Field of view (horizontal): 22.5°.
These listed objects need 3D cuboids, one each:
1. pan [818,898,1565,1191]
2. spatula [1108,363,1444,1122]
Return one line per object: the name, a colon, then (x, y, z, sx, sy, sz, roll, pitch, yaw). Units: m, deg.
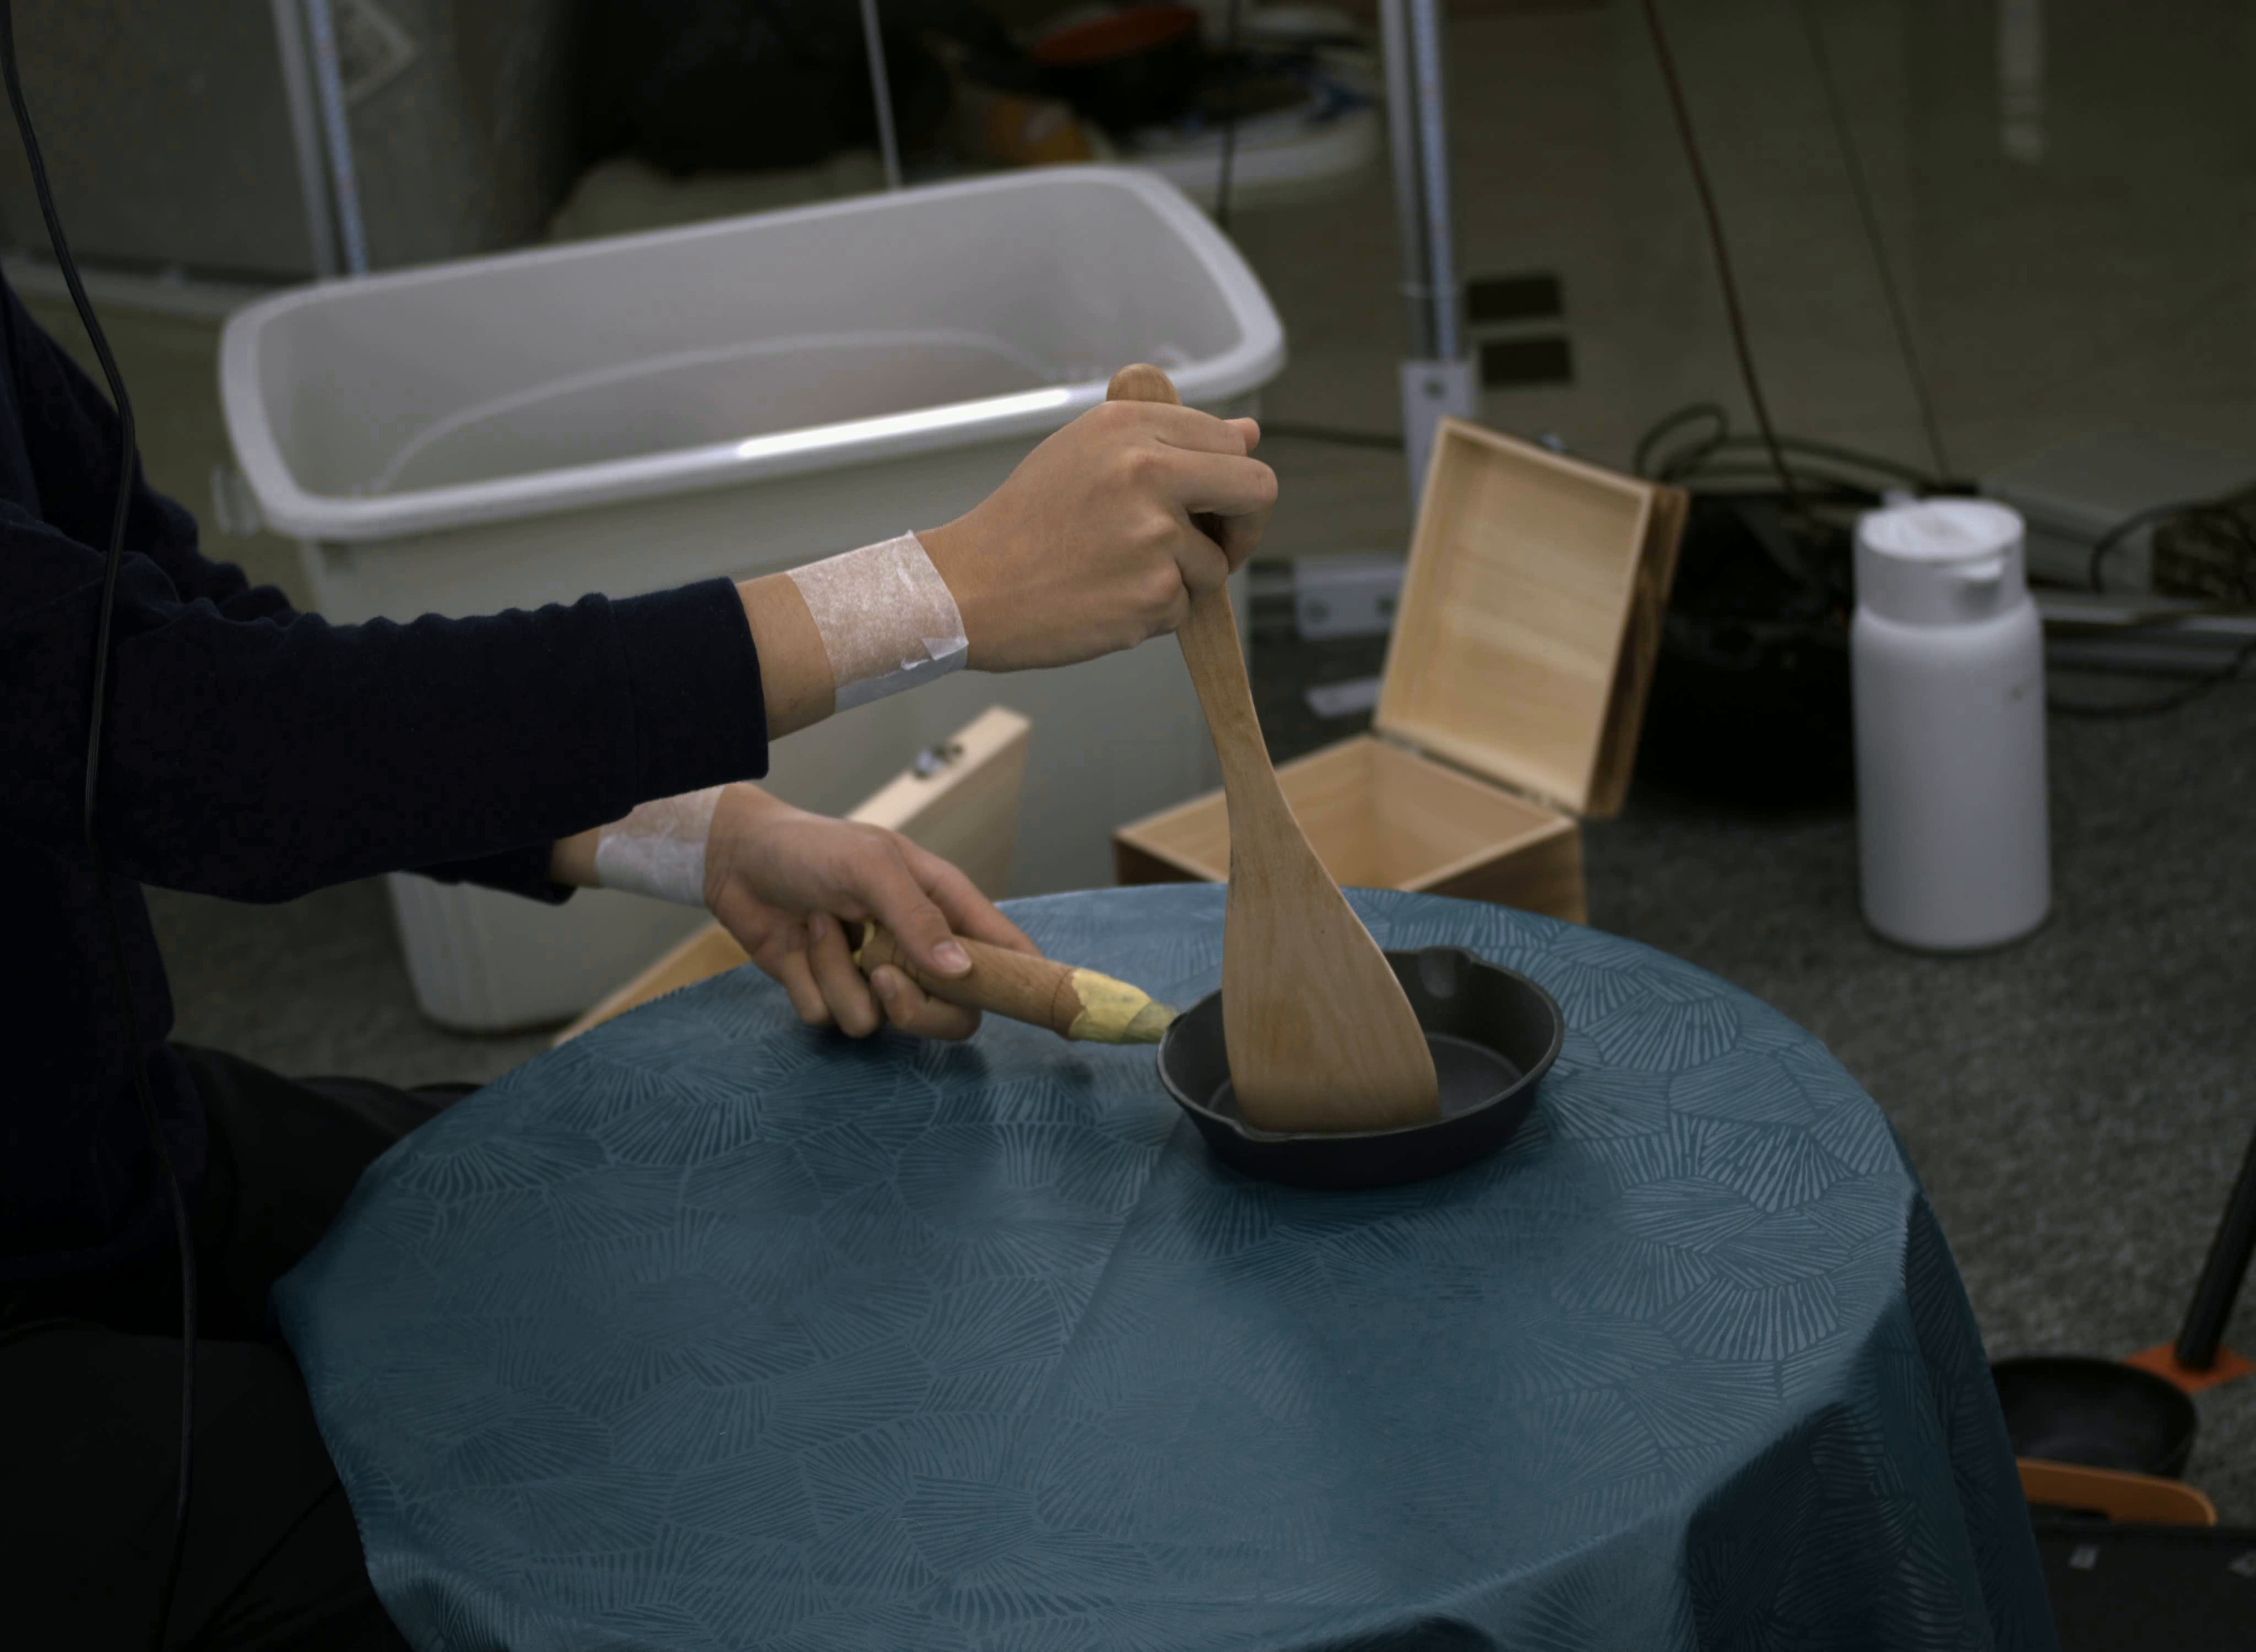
pan: (0.018, 0.077, 2.215, 0.322, 0.050, 0.167, 11, 30, 30)
spatula: (0.044, -0.021, 2.094, 0.080, 0.332, 0.016, -11, 24, 11)
